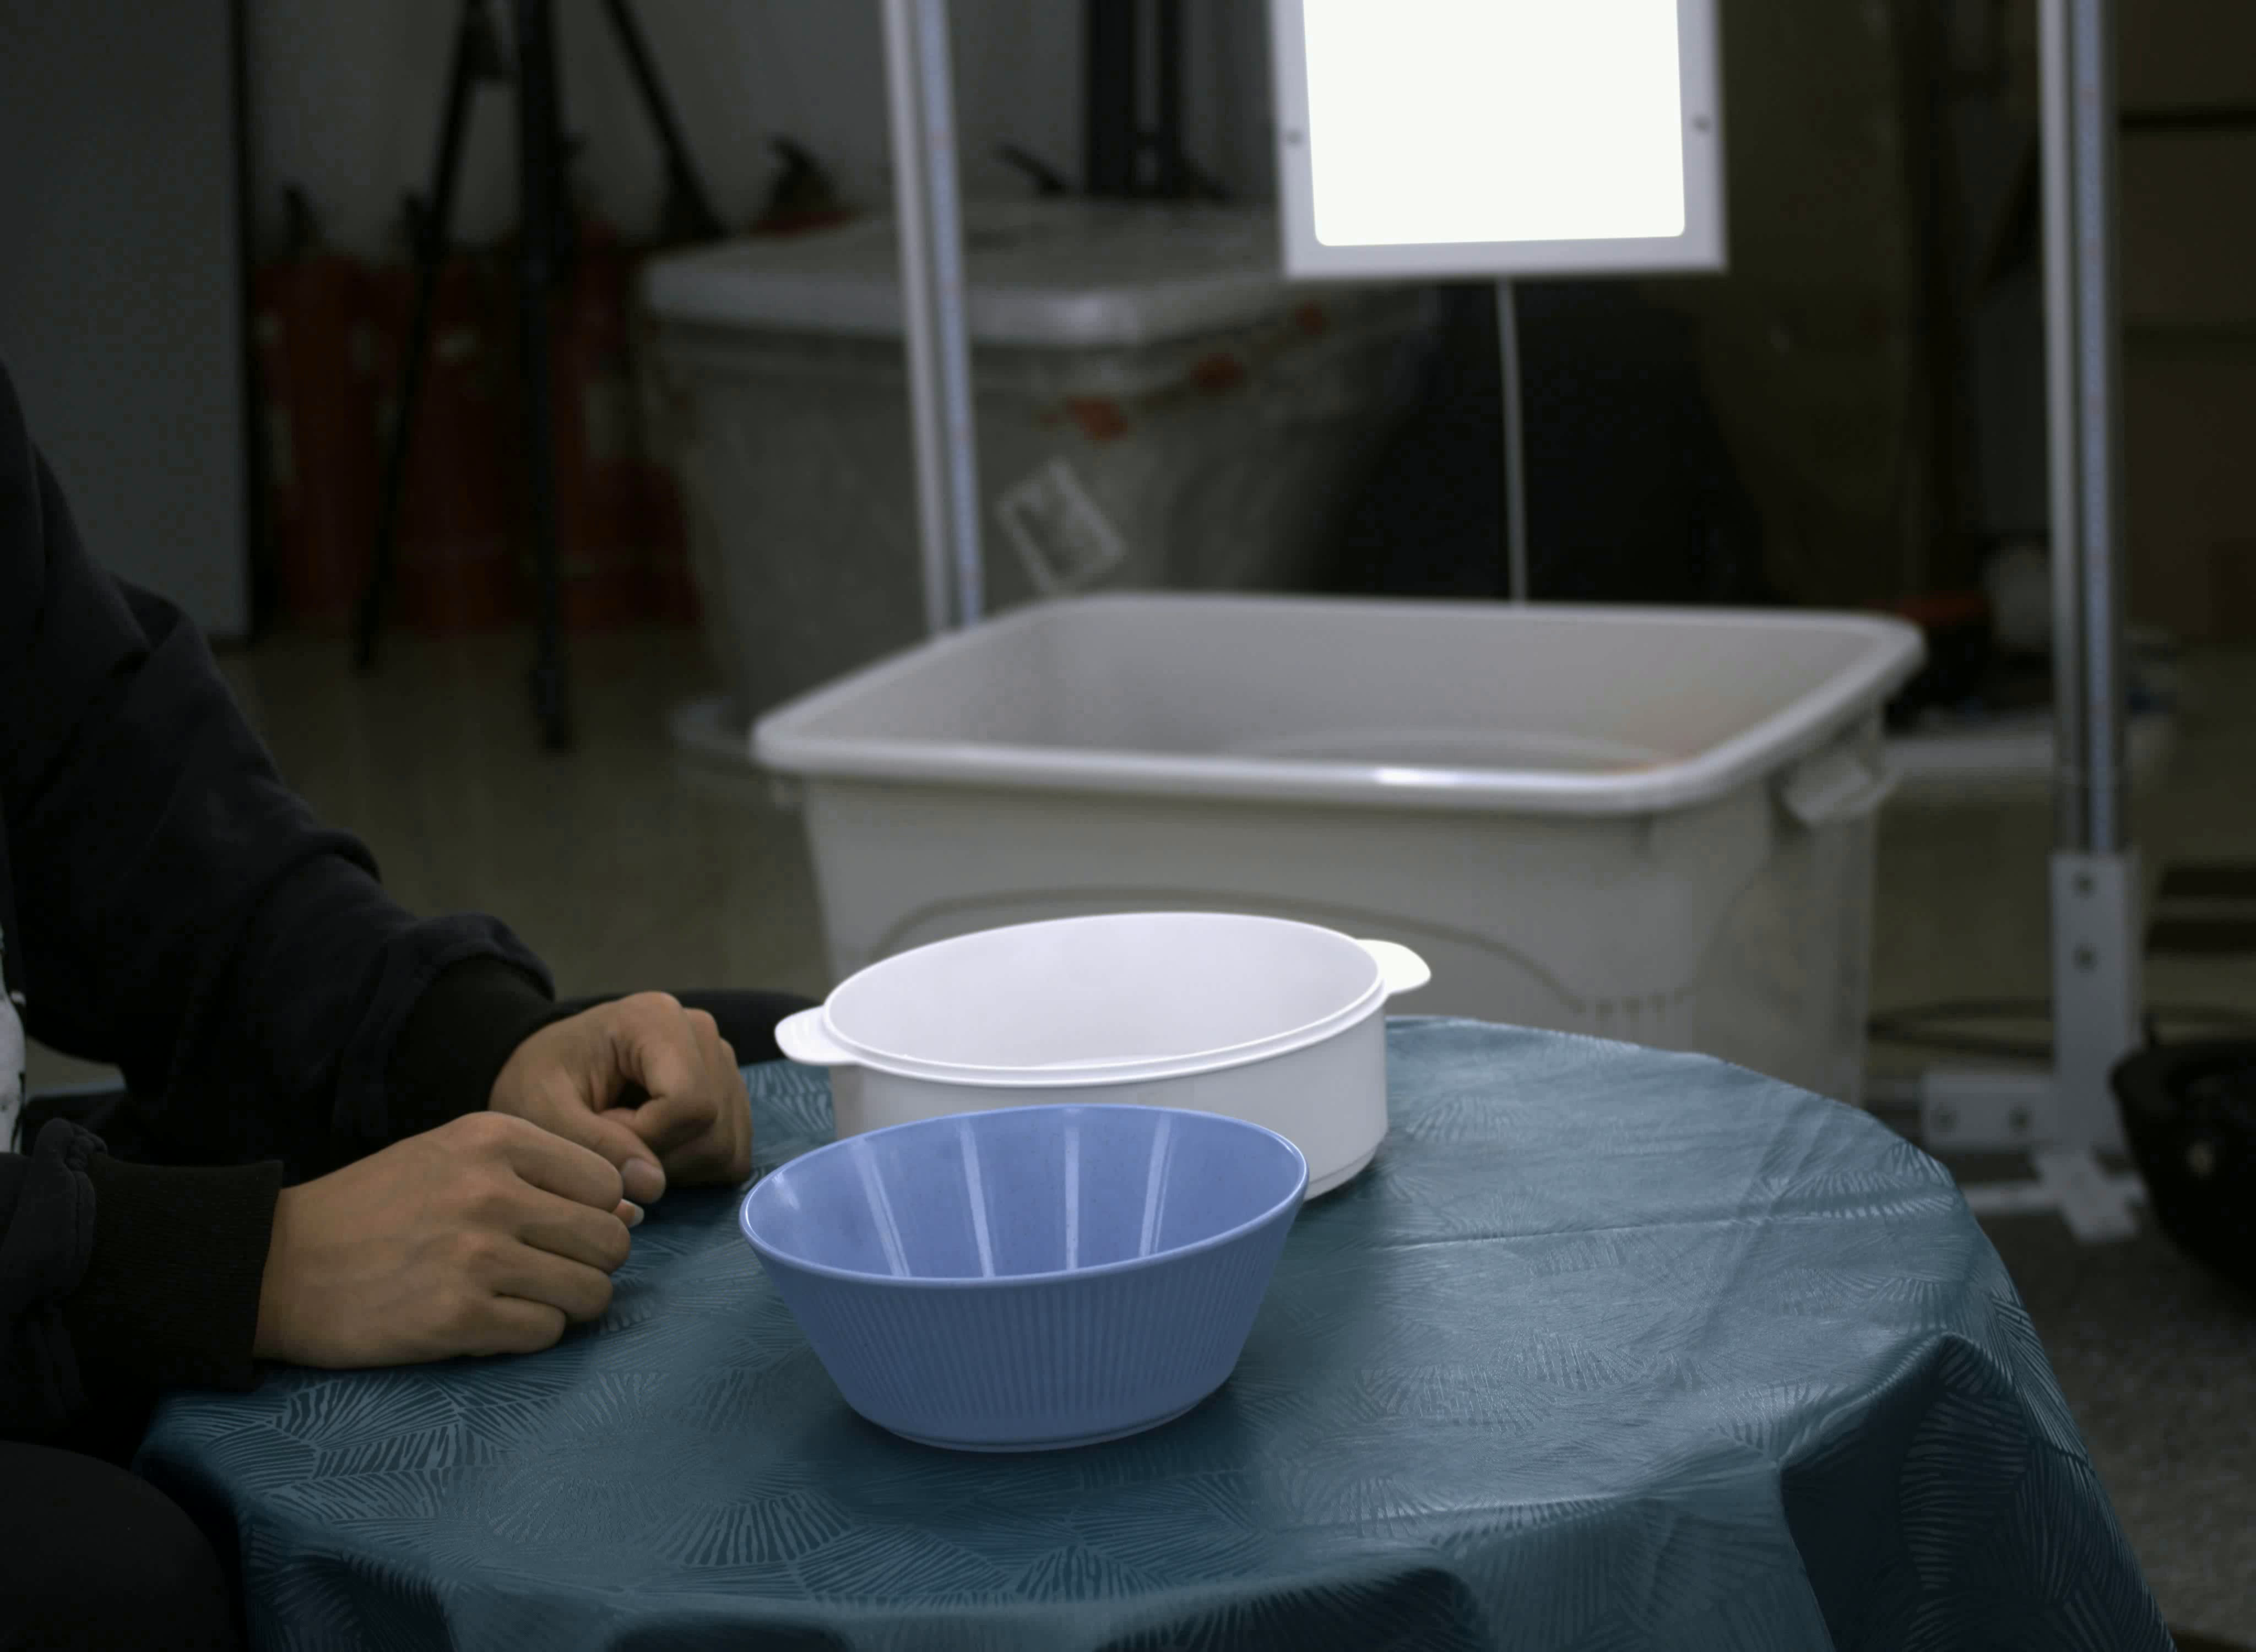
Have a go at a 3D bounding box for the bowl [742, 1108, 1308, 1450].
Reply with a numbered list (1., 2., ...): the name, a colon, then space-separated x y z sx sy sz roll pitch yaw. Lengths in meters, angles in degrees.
1. bowl: -0.029 0.142 1.696 0.175 0.070 0.176 -5 13 0

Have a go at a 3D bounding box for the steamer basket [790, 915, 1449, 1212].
1. steamer basket: -0.001 0.087 1.917 0.228 0.069 0.203 -5 13 -10
